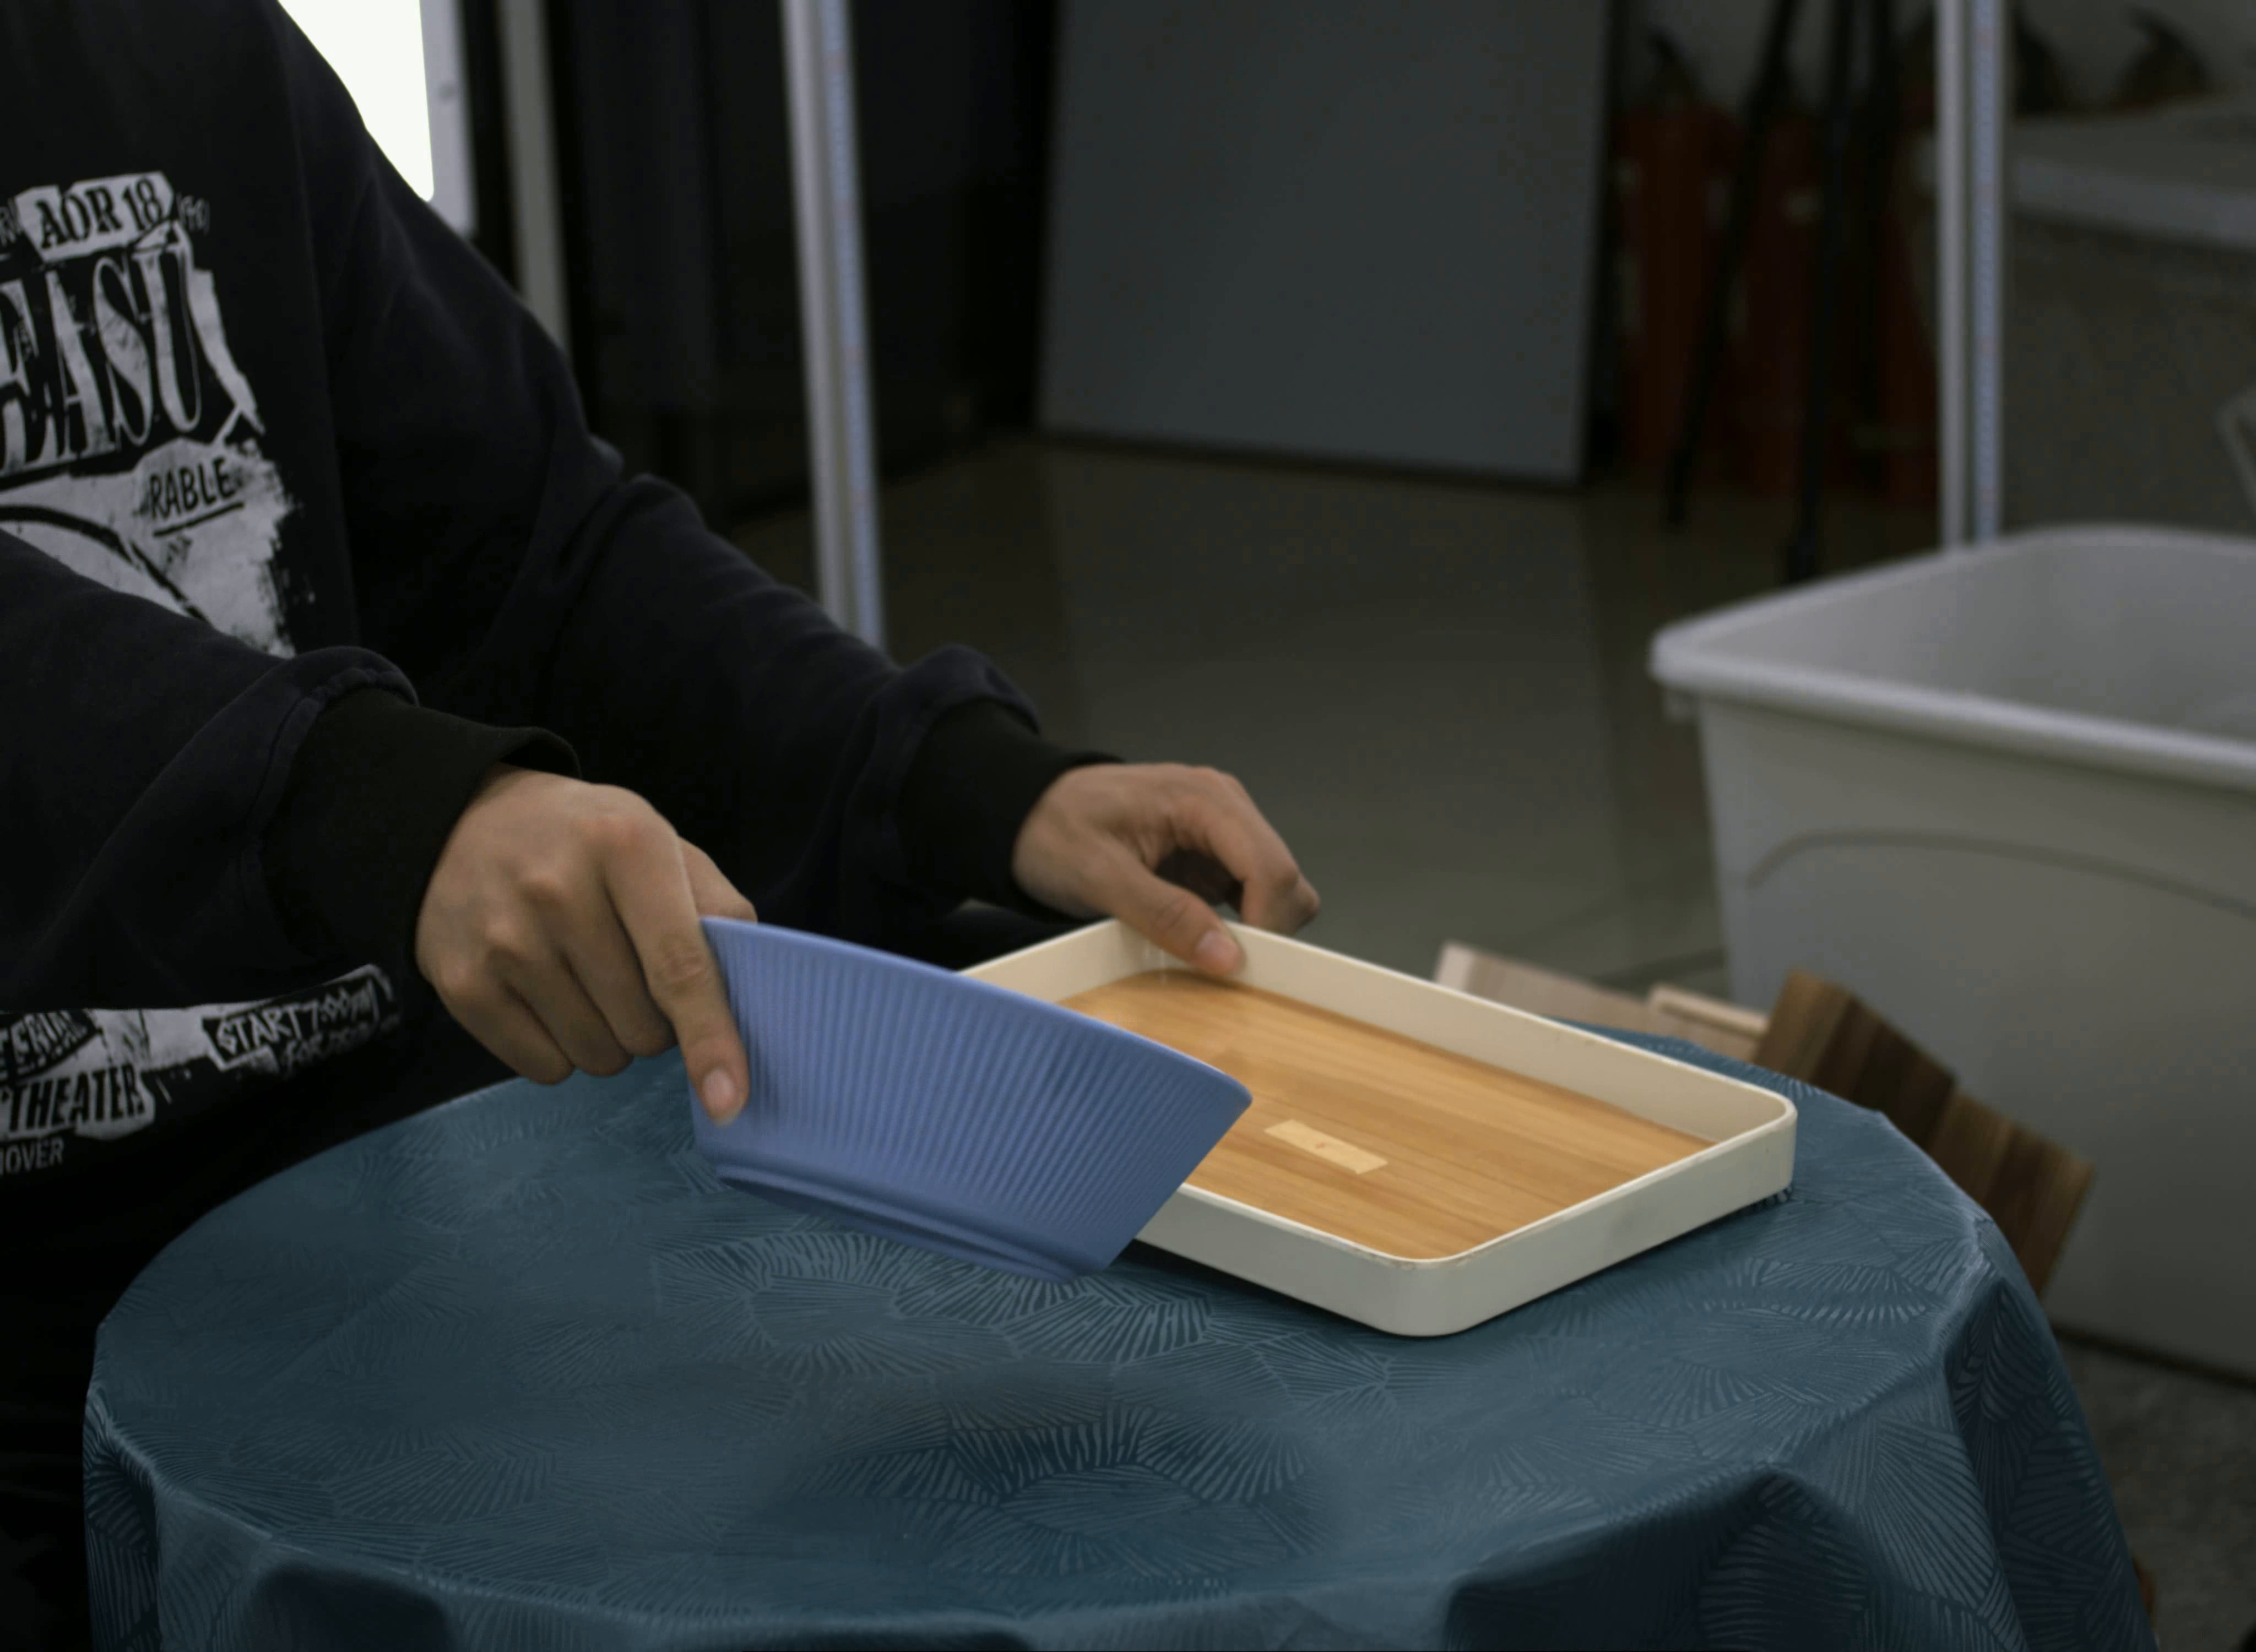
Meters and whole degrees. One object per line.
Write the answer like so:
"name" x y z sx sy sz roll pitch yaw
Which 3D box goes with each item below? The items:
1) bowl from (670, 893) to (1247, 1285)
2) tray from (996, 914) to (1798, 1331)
"bowl" -0.057 0.080 1.536 0.174 0.071 0.176 18 -11 3
"tray" 0.052 0.092 1.764 0.187 0.028 0.303 -17 23 -41
